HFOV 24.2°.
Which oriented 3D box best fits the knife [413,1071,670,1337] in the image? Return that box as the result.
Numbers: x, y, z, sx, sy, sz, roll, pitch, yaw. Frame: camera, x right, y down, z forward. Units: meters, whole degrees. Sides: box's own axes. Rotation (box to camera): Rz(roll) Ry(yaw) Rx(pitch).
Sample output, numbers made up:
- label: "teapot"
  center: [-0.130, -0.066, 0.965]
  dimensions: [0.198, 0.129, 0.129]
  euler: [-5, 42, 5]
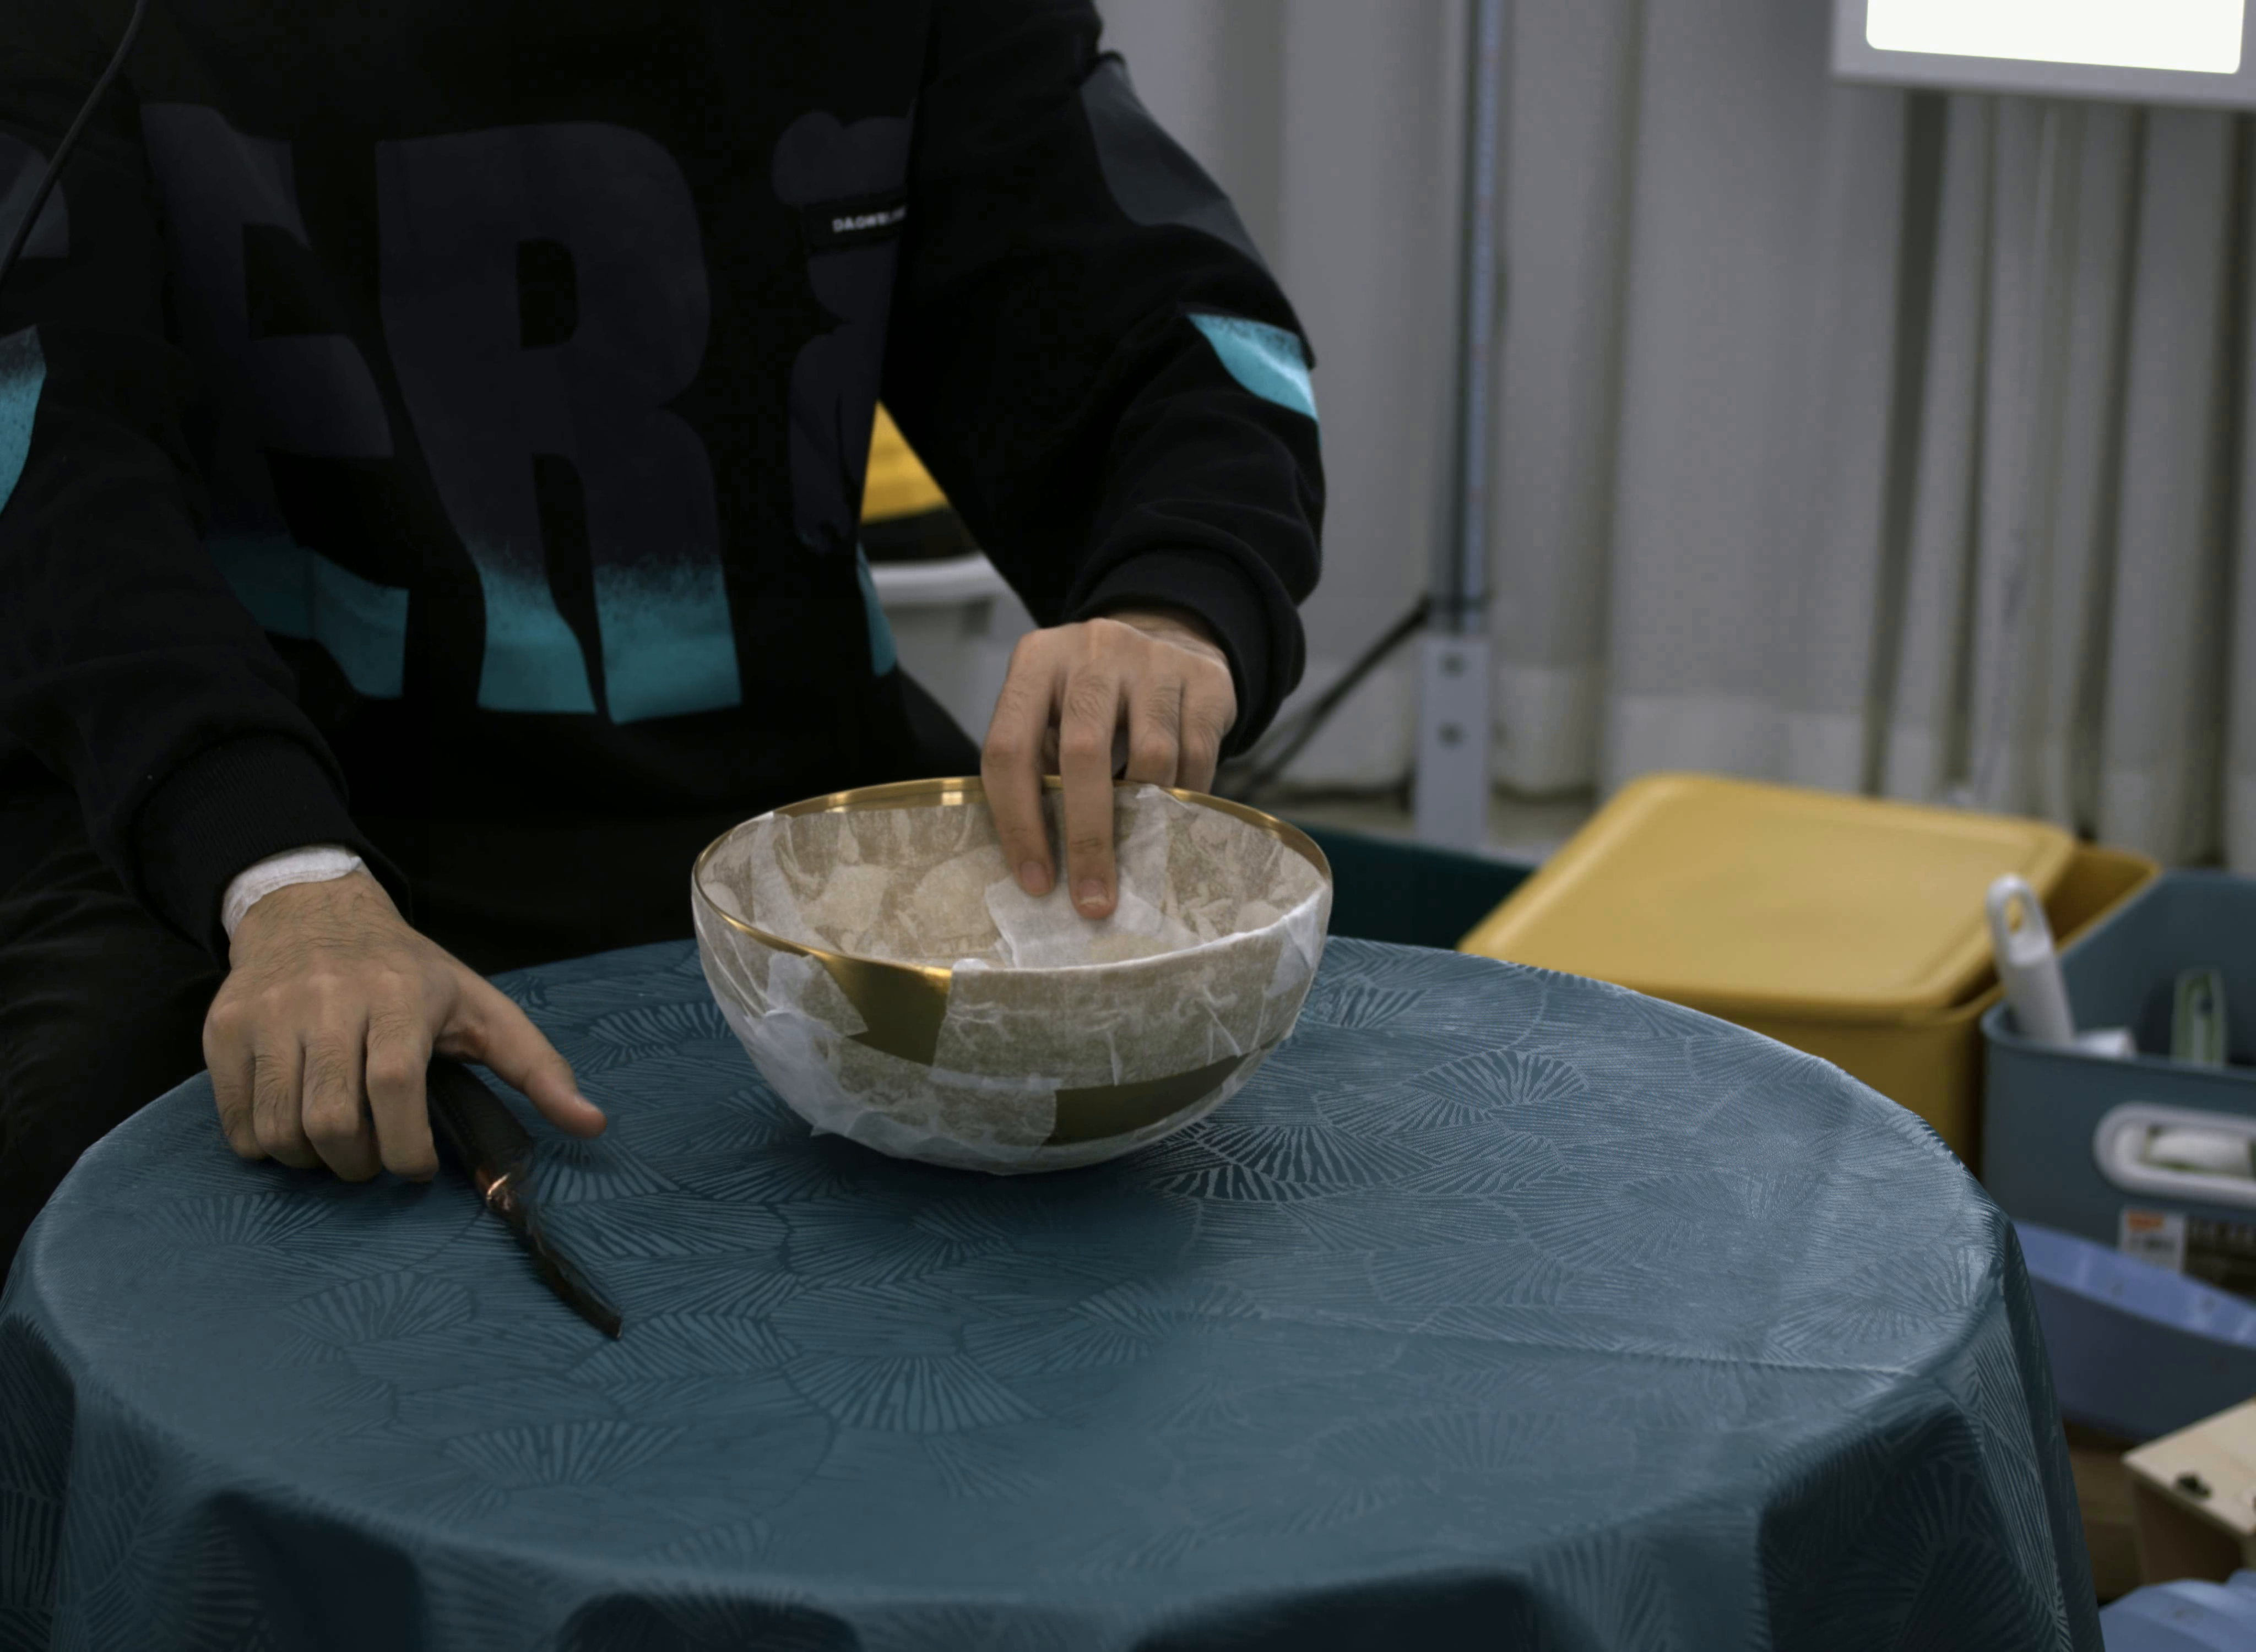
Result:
- label: "knife"
  center: [-0.180, 0.114, 1.594]
  dimensions: [0.026, 0.017, 0.223]
  euler: [2, 15, -24]

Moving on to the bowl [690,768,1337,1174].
- label: "bowl"
  center: [-0.036, 0.052, 1.655]
  dimensions: [0.214, 0.095, 0.213]
  euler: [-1, 18, 1]
